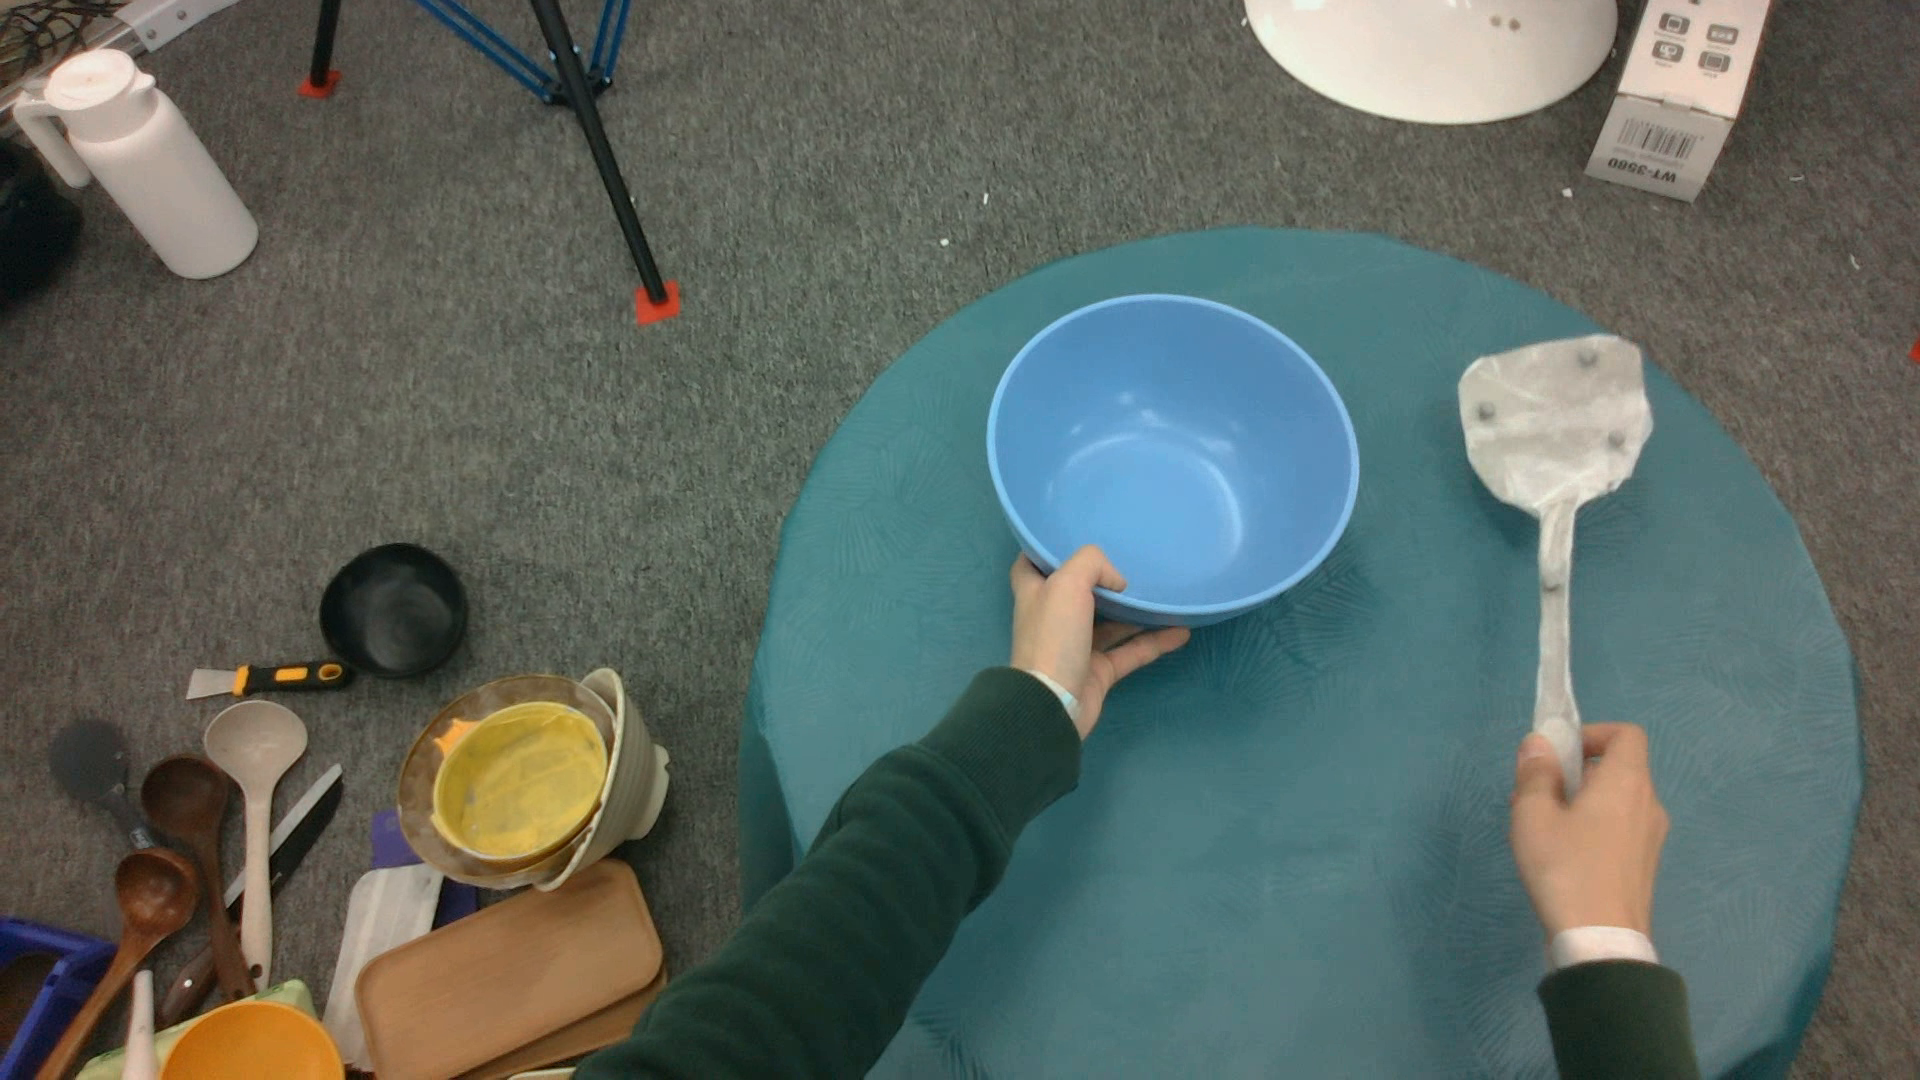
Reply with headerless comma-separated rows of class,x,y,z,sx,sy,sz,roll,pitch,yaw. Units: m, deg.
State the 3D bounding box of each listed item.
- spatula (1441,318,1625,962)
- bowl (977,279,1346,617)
spatula,0.290,0.032,0.705,0.098,0.044,0.366,-5,50,30
bowl,0.103,-0.037,0.761,0.196,0.095,0.197,2,63,-4
